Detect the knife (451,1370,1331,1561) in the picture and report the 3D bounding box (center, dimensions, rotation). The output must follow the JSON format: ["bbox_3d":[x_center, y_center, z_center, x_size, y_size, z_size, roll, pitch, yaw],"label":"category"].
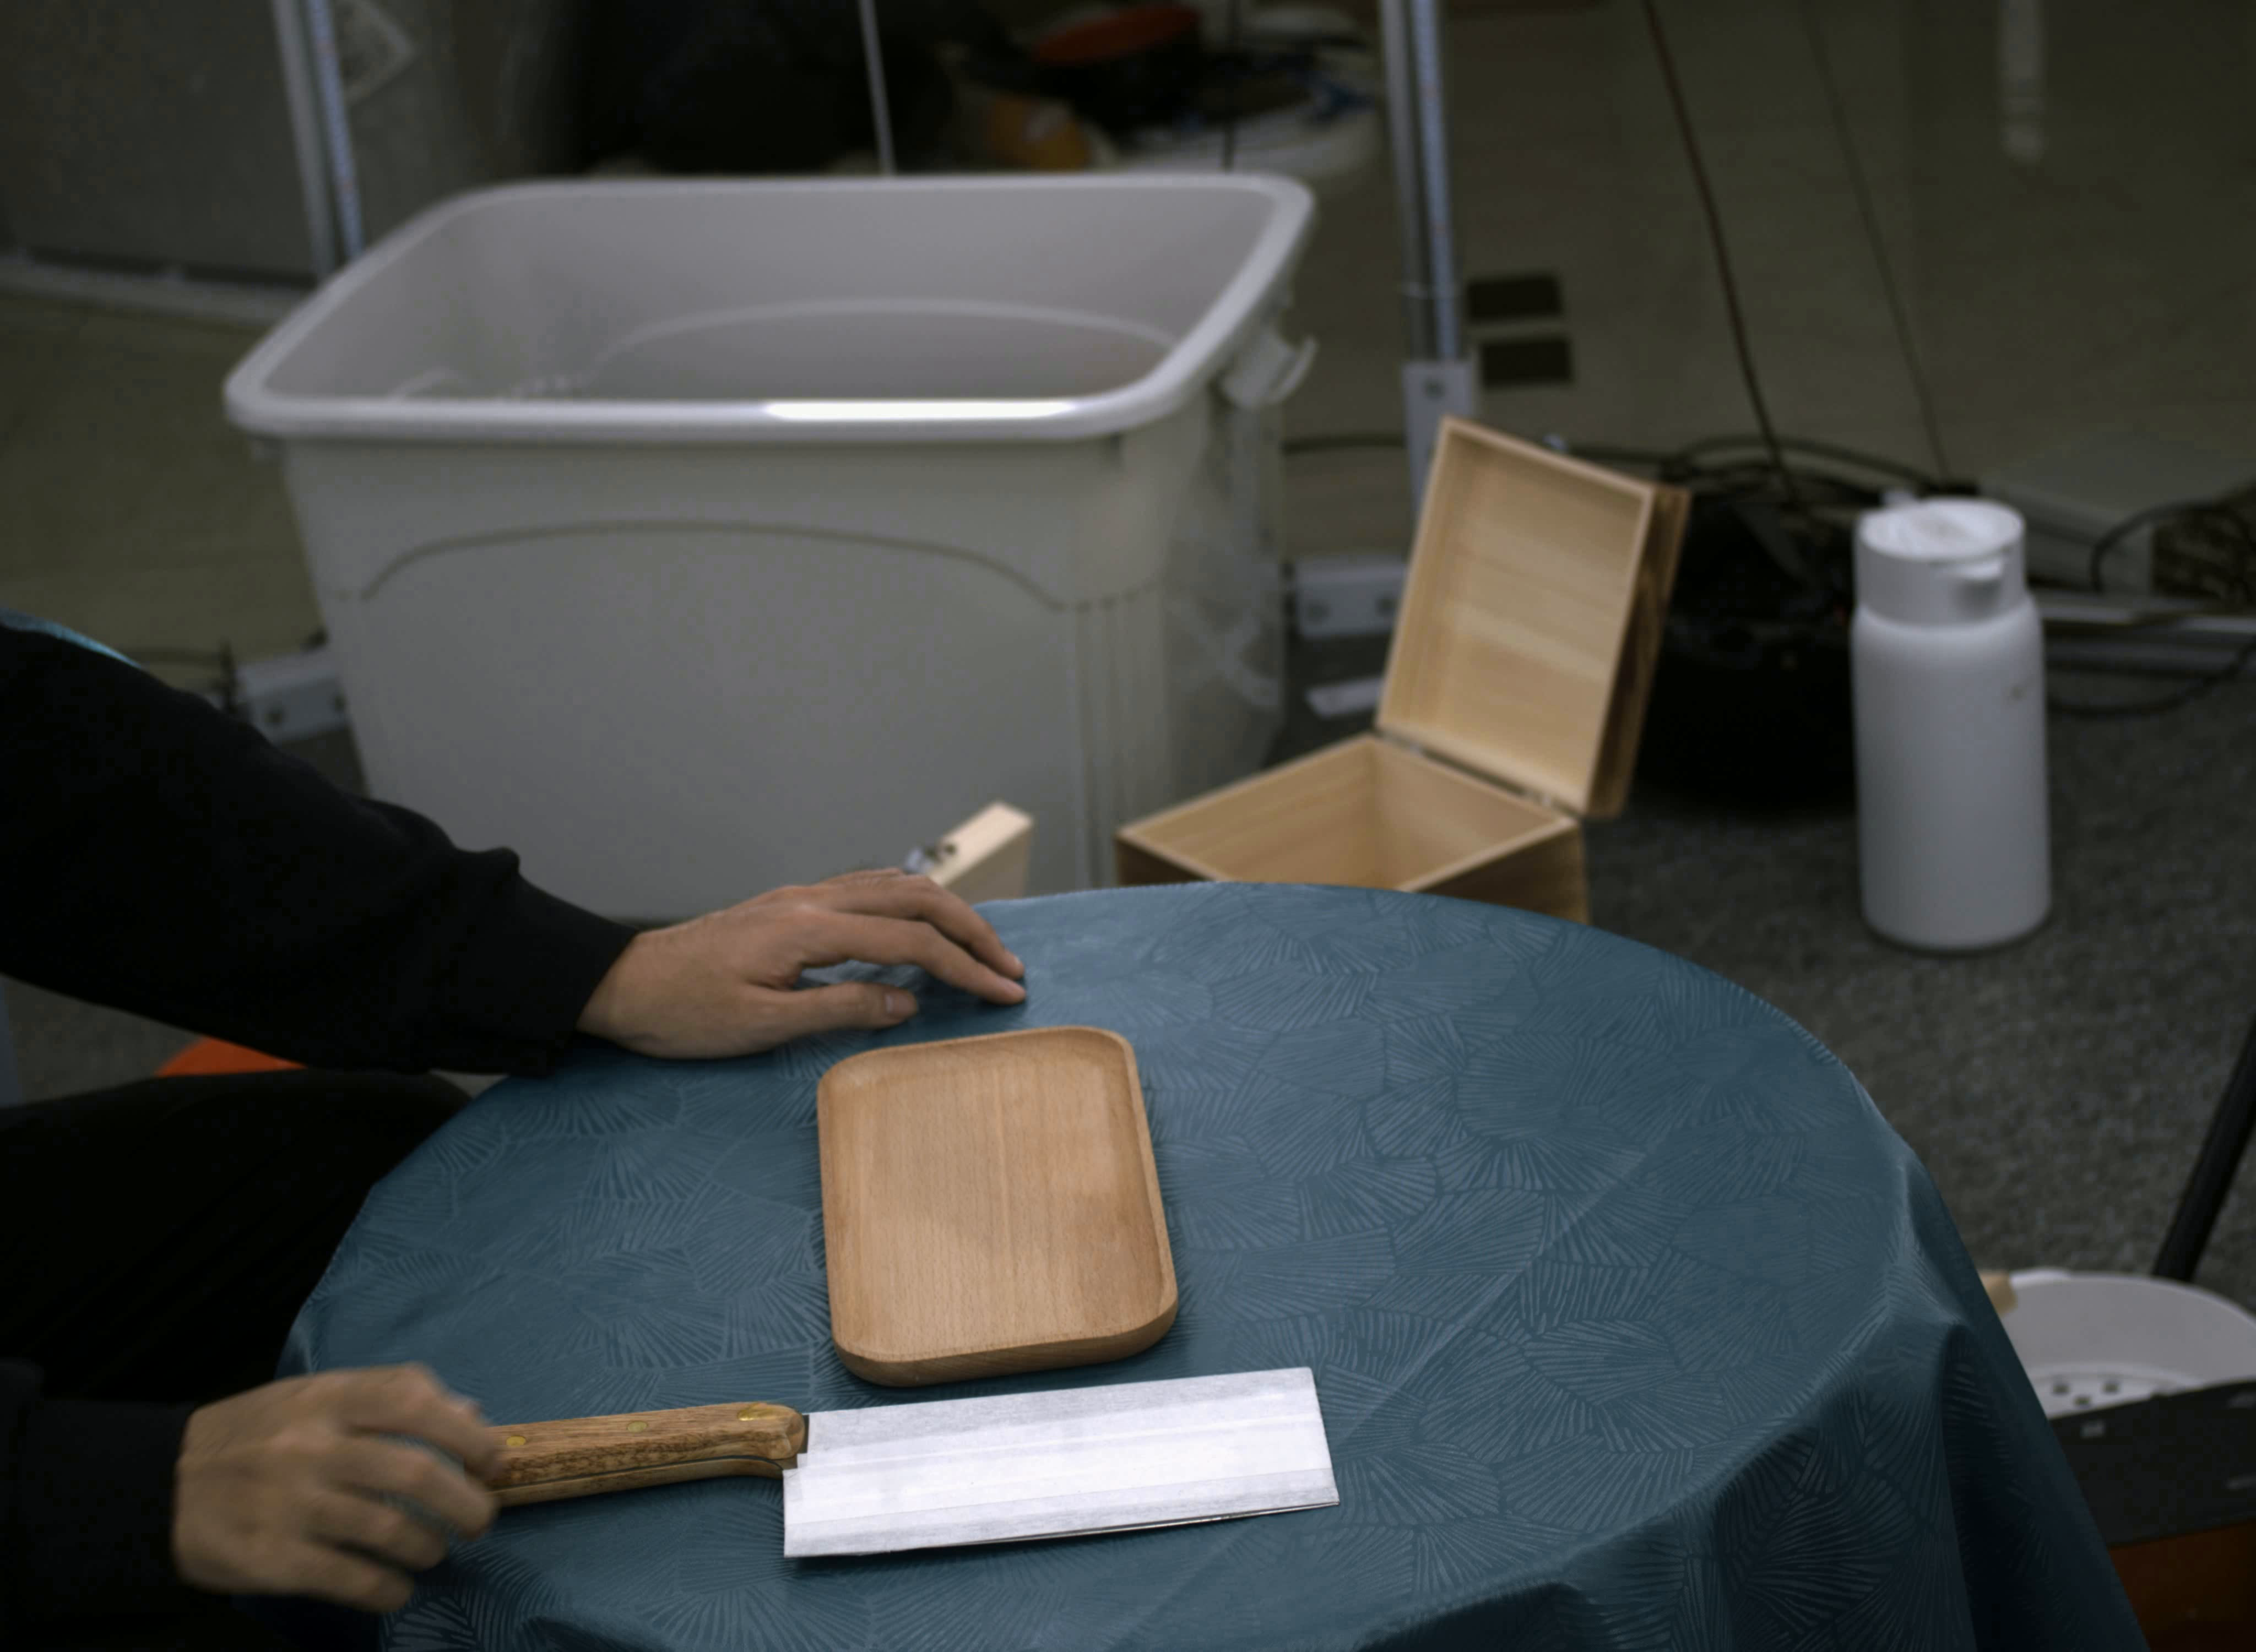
[{"bbox_3d":[-0.083,0.224,1.967,0.305,0.021,0.091,-5,26,-2],"label":"knife"}]

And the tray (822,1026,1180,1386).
[{"bbox_3d":[-0.050,0.141,2.137,0.130,0.023,0.247,-5,24,-1],"label":"tray"}]
